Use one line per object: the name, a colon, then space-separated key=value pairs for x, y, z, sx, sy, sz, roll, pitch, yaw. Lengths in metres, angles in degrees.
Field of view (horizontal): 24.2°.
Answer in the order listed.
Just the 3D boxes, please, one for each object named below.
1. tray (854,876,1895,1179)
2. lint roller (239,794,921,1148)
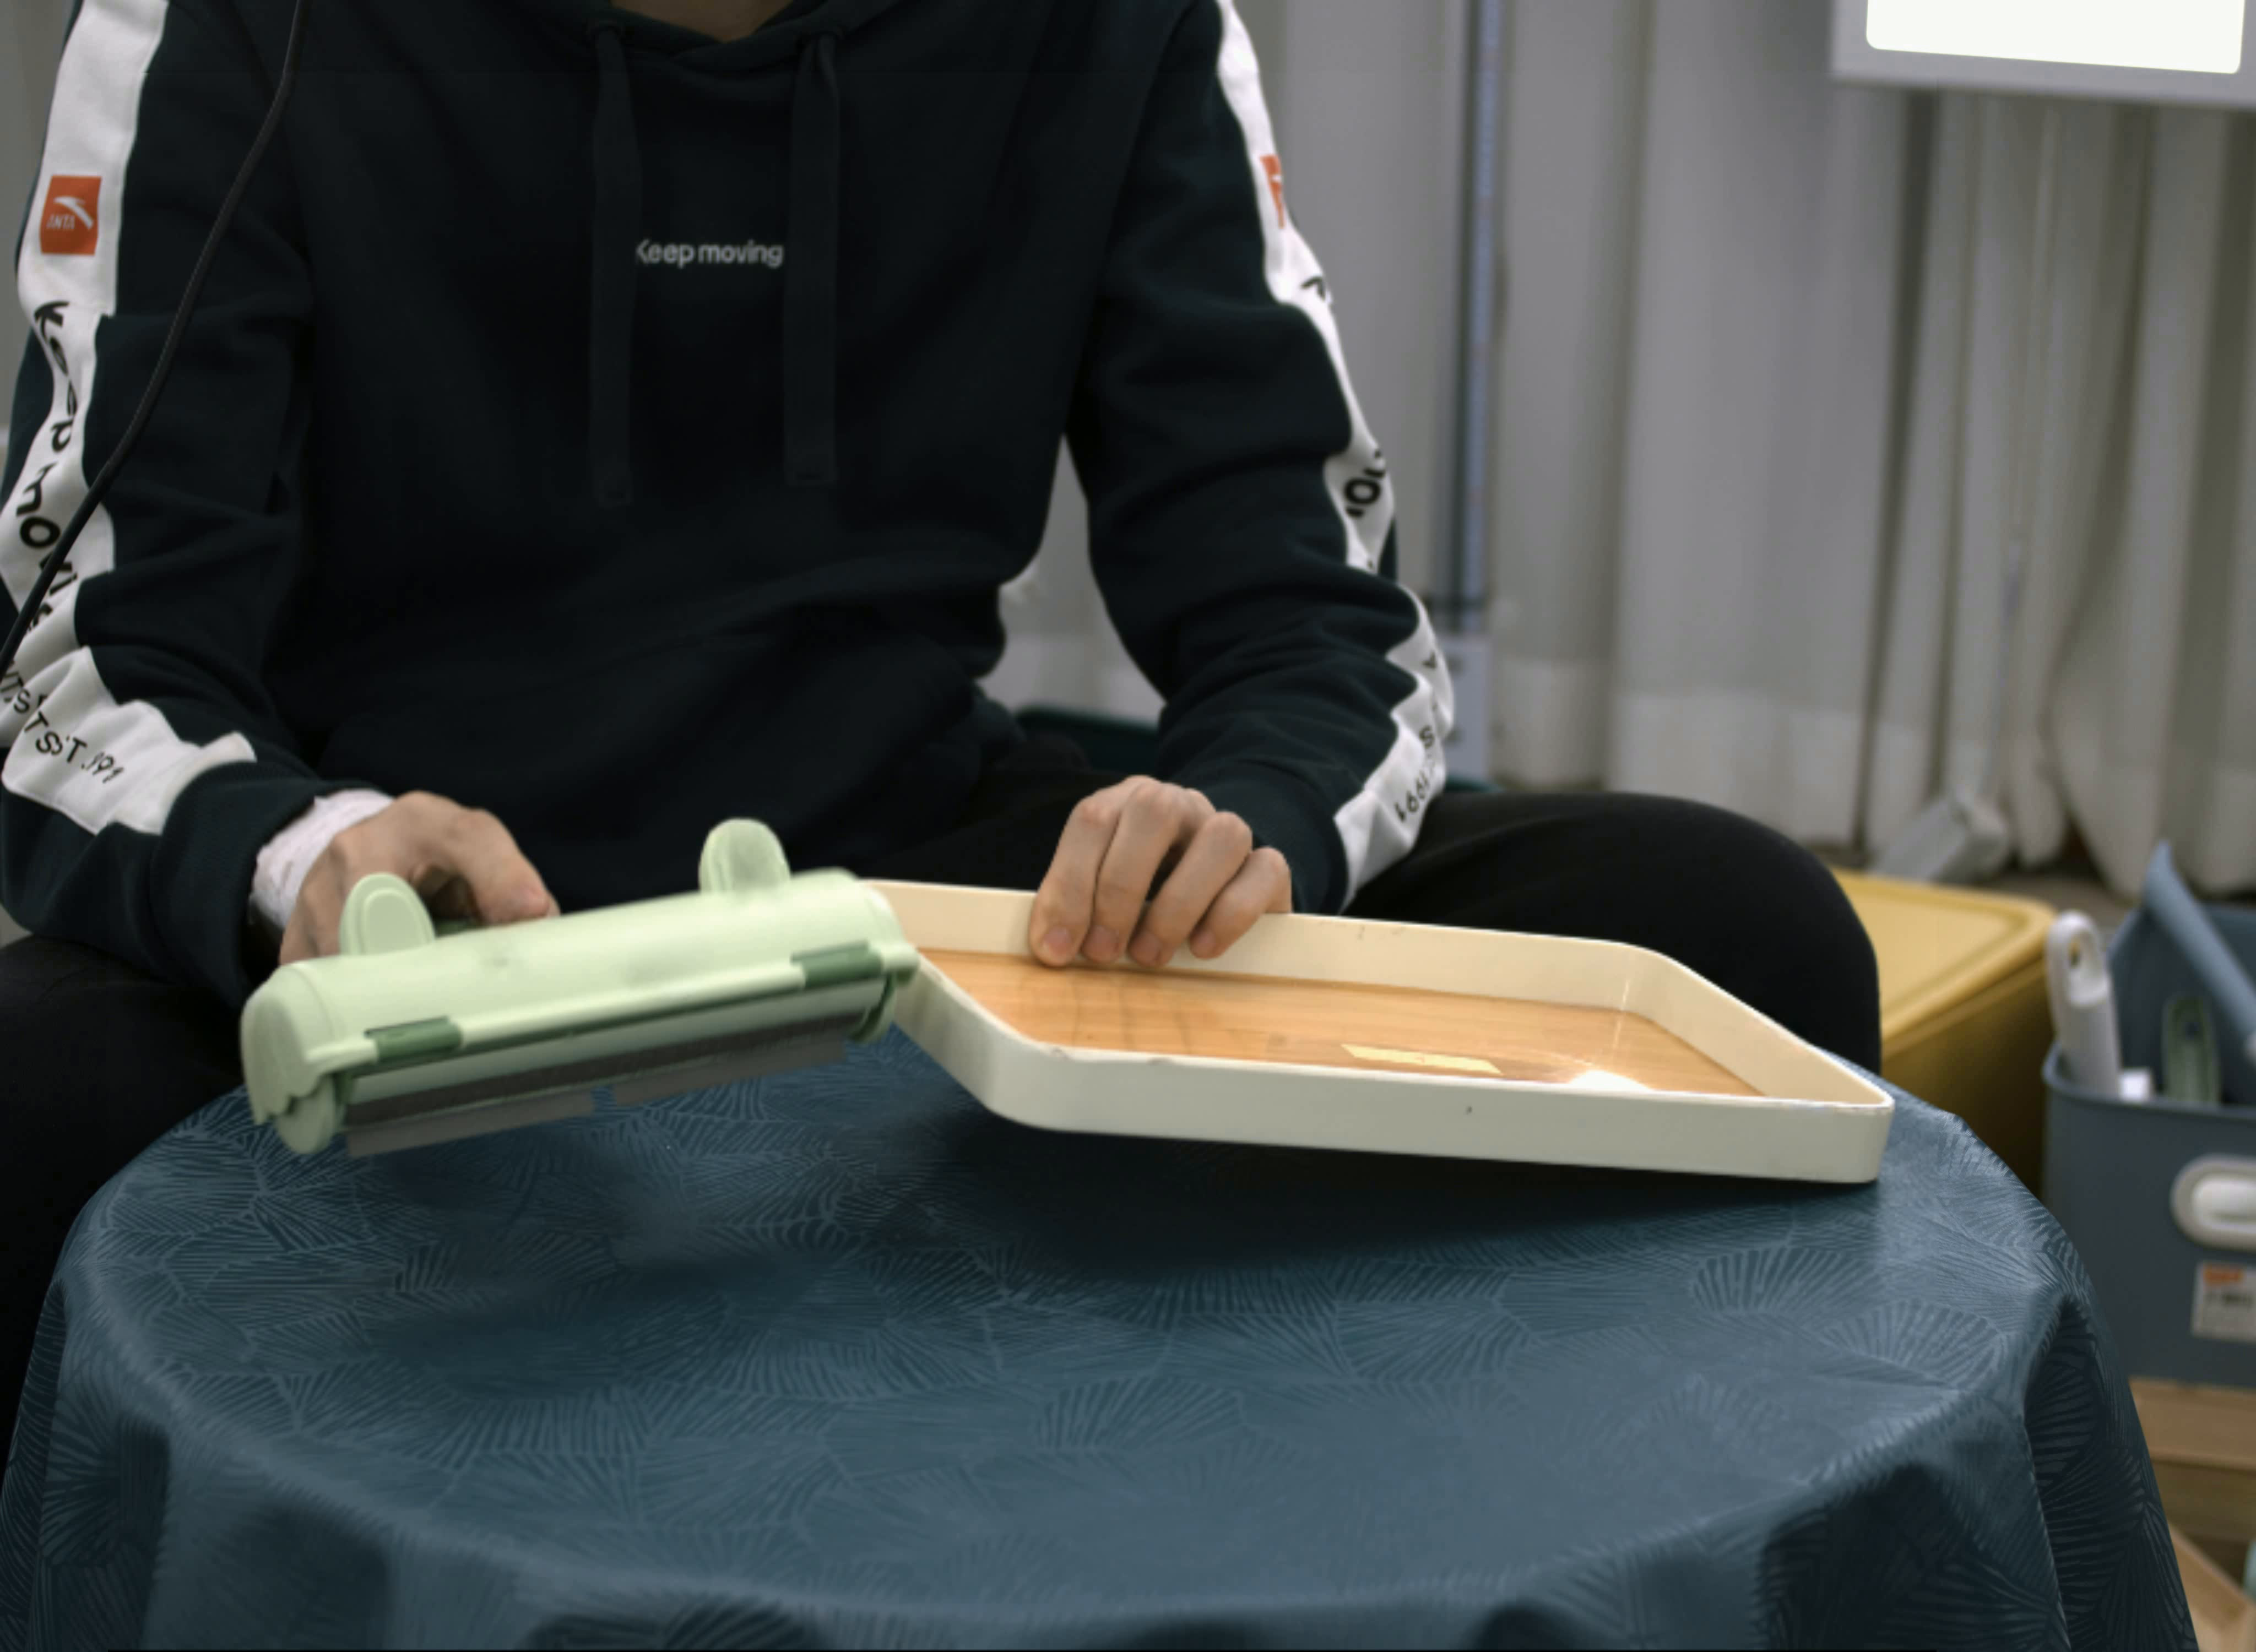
tray: x=0.070 y=0.063 z=1.647 sx=0.302 sy=0.027 sz=0.189 roll=6 pitch=12 yaw=-23
lint roller: x=-0.187 y=0.029 z=1.560 sx=0.199 sy=0.083 sz=0.181 roll=-11 pitch=20 yaw=-31
